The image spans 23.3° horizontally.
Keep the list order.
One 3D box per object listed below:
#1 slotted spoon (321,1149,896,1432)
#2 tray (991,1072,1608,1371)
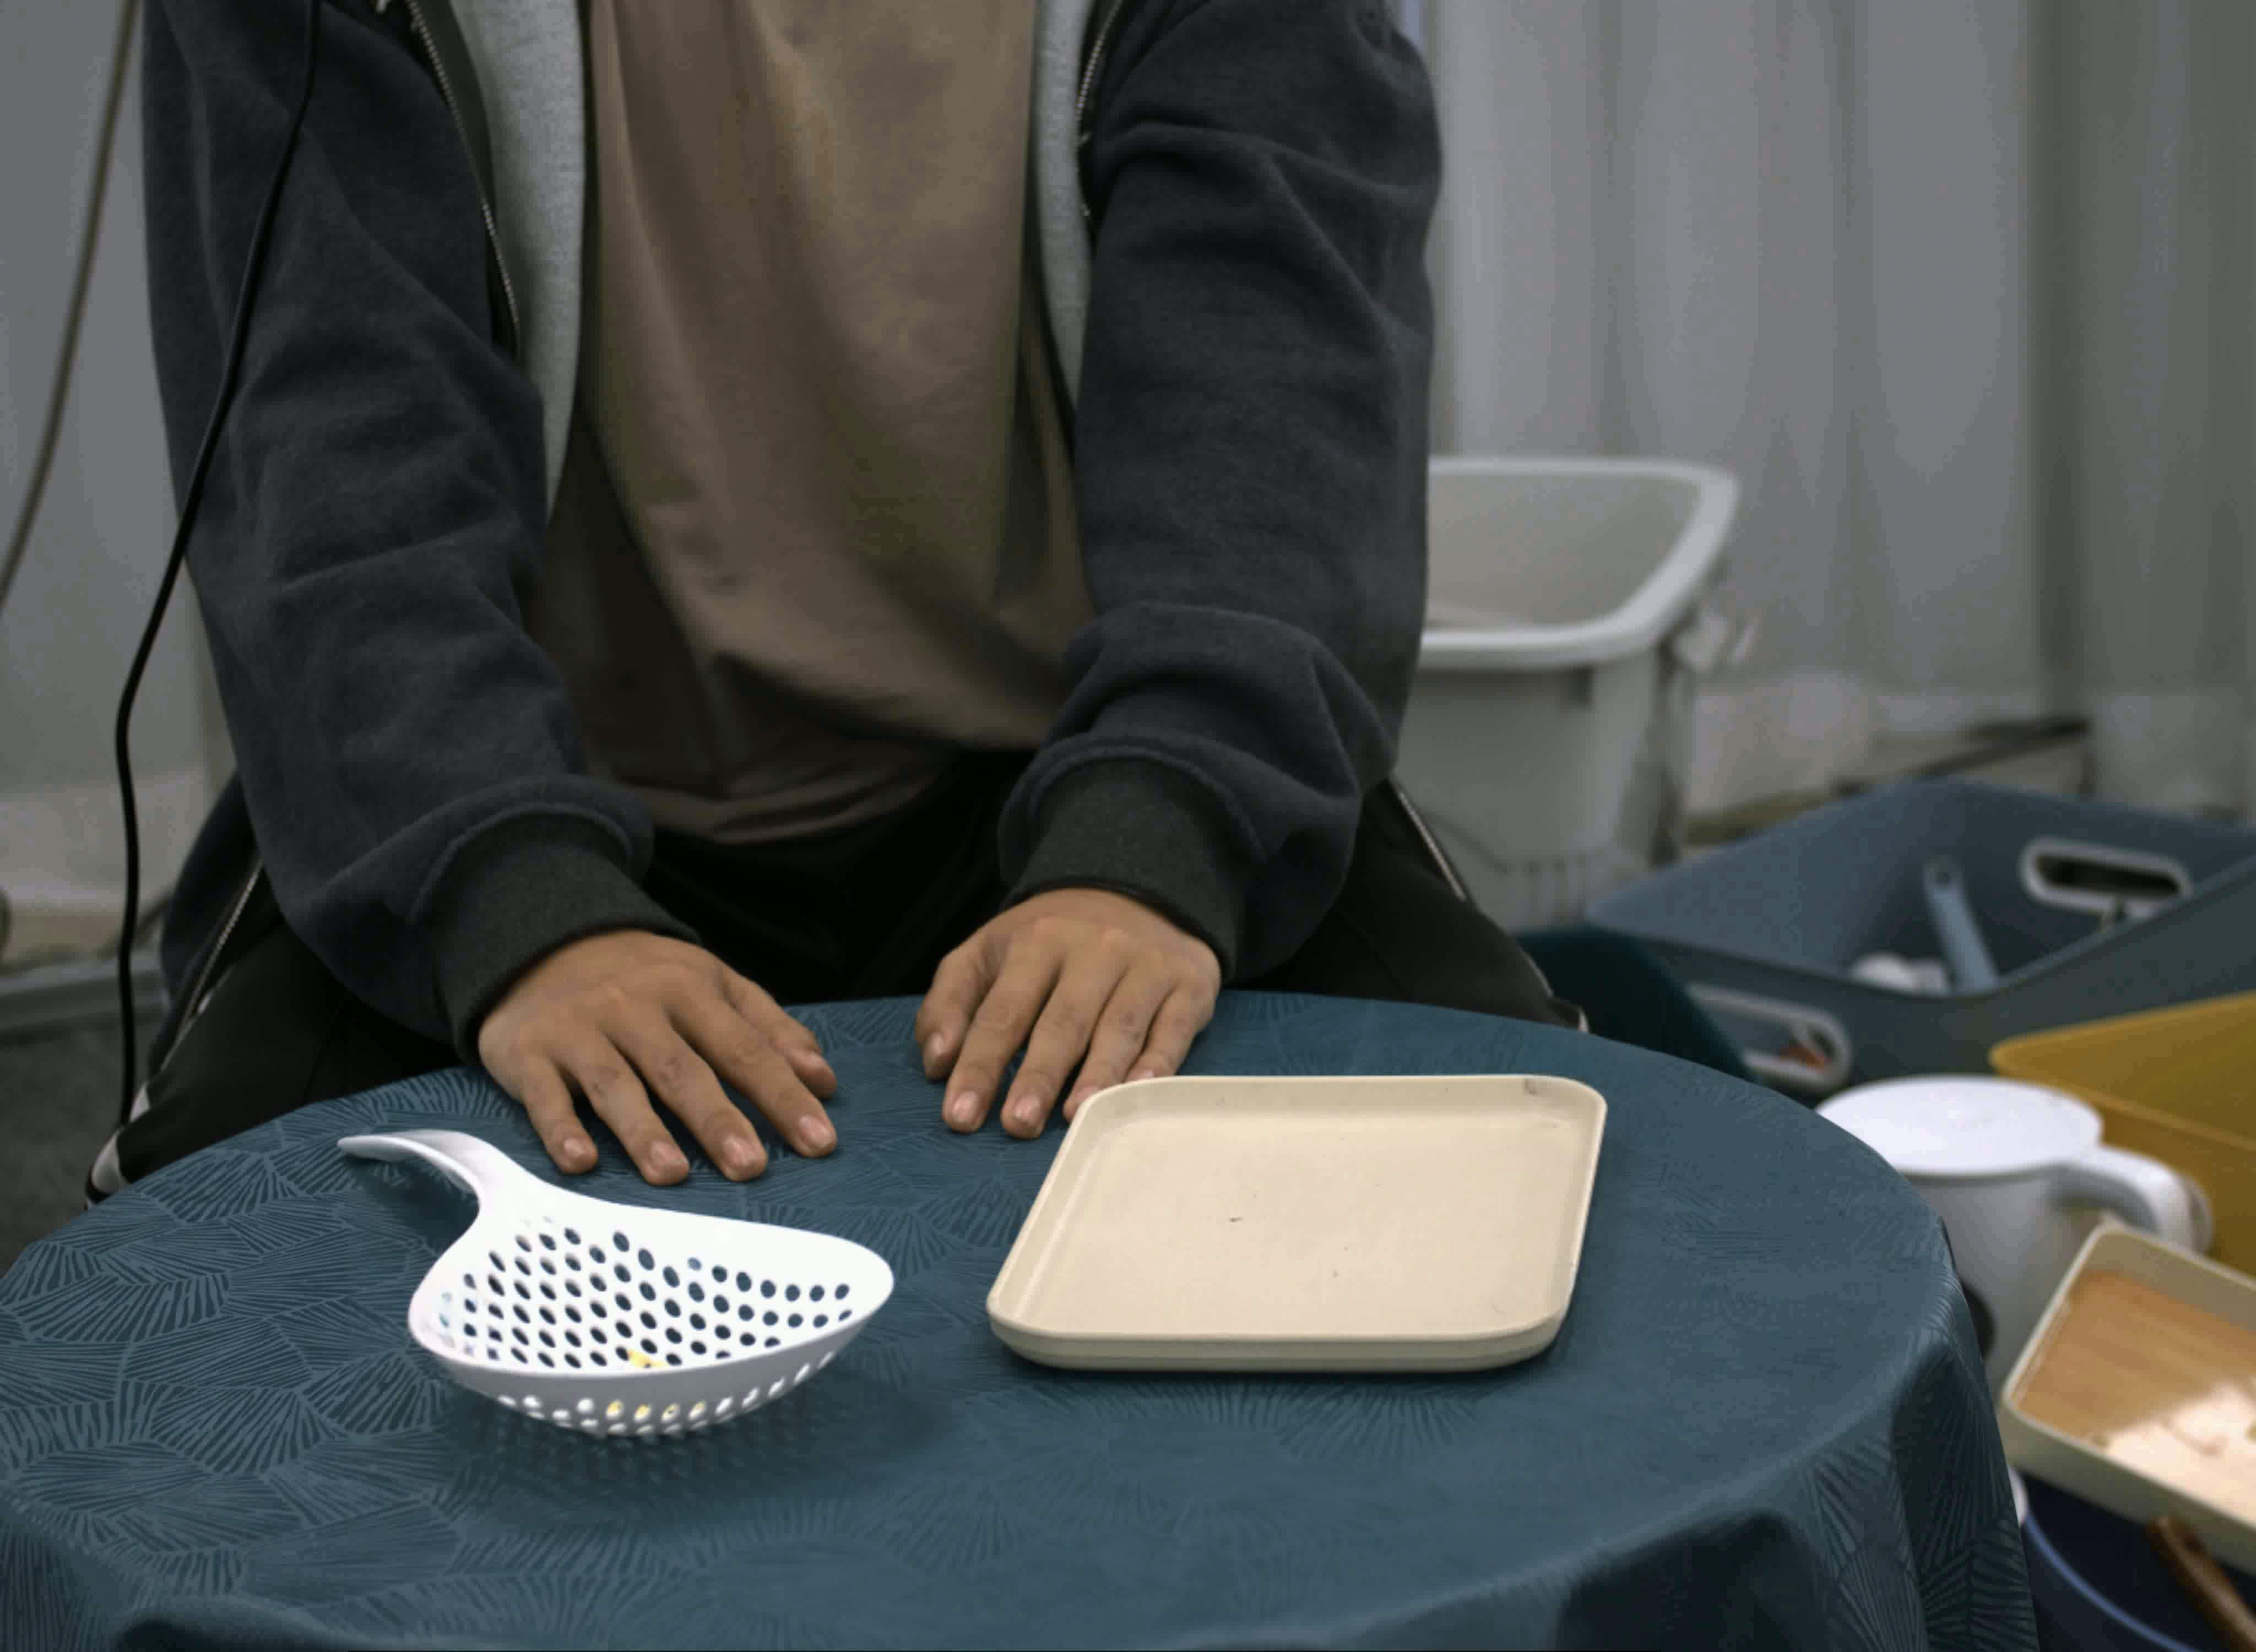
[{"bbox_3d":[-0.179,0.125,1.636,0.136,0.050,0.350,-13,17,-23],"label":"slotted spoon"},{"bbox_3d":[0.056,0.119,1.654,0.171,0.017,0.241,-1,15,9],"label":"tray"}]
